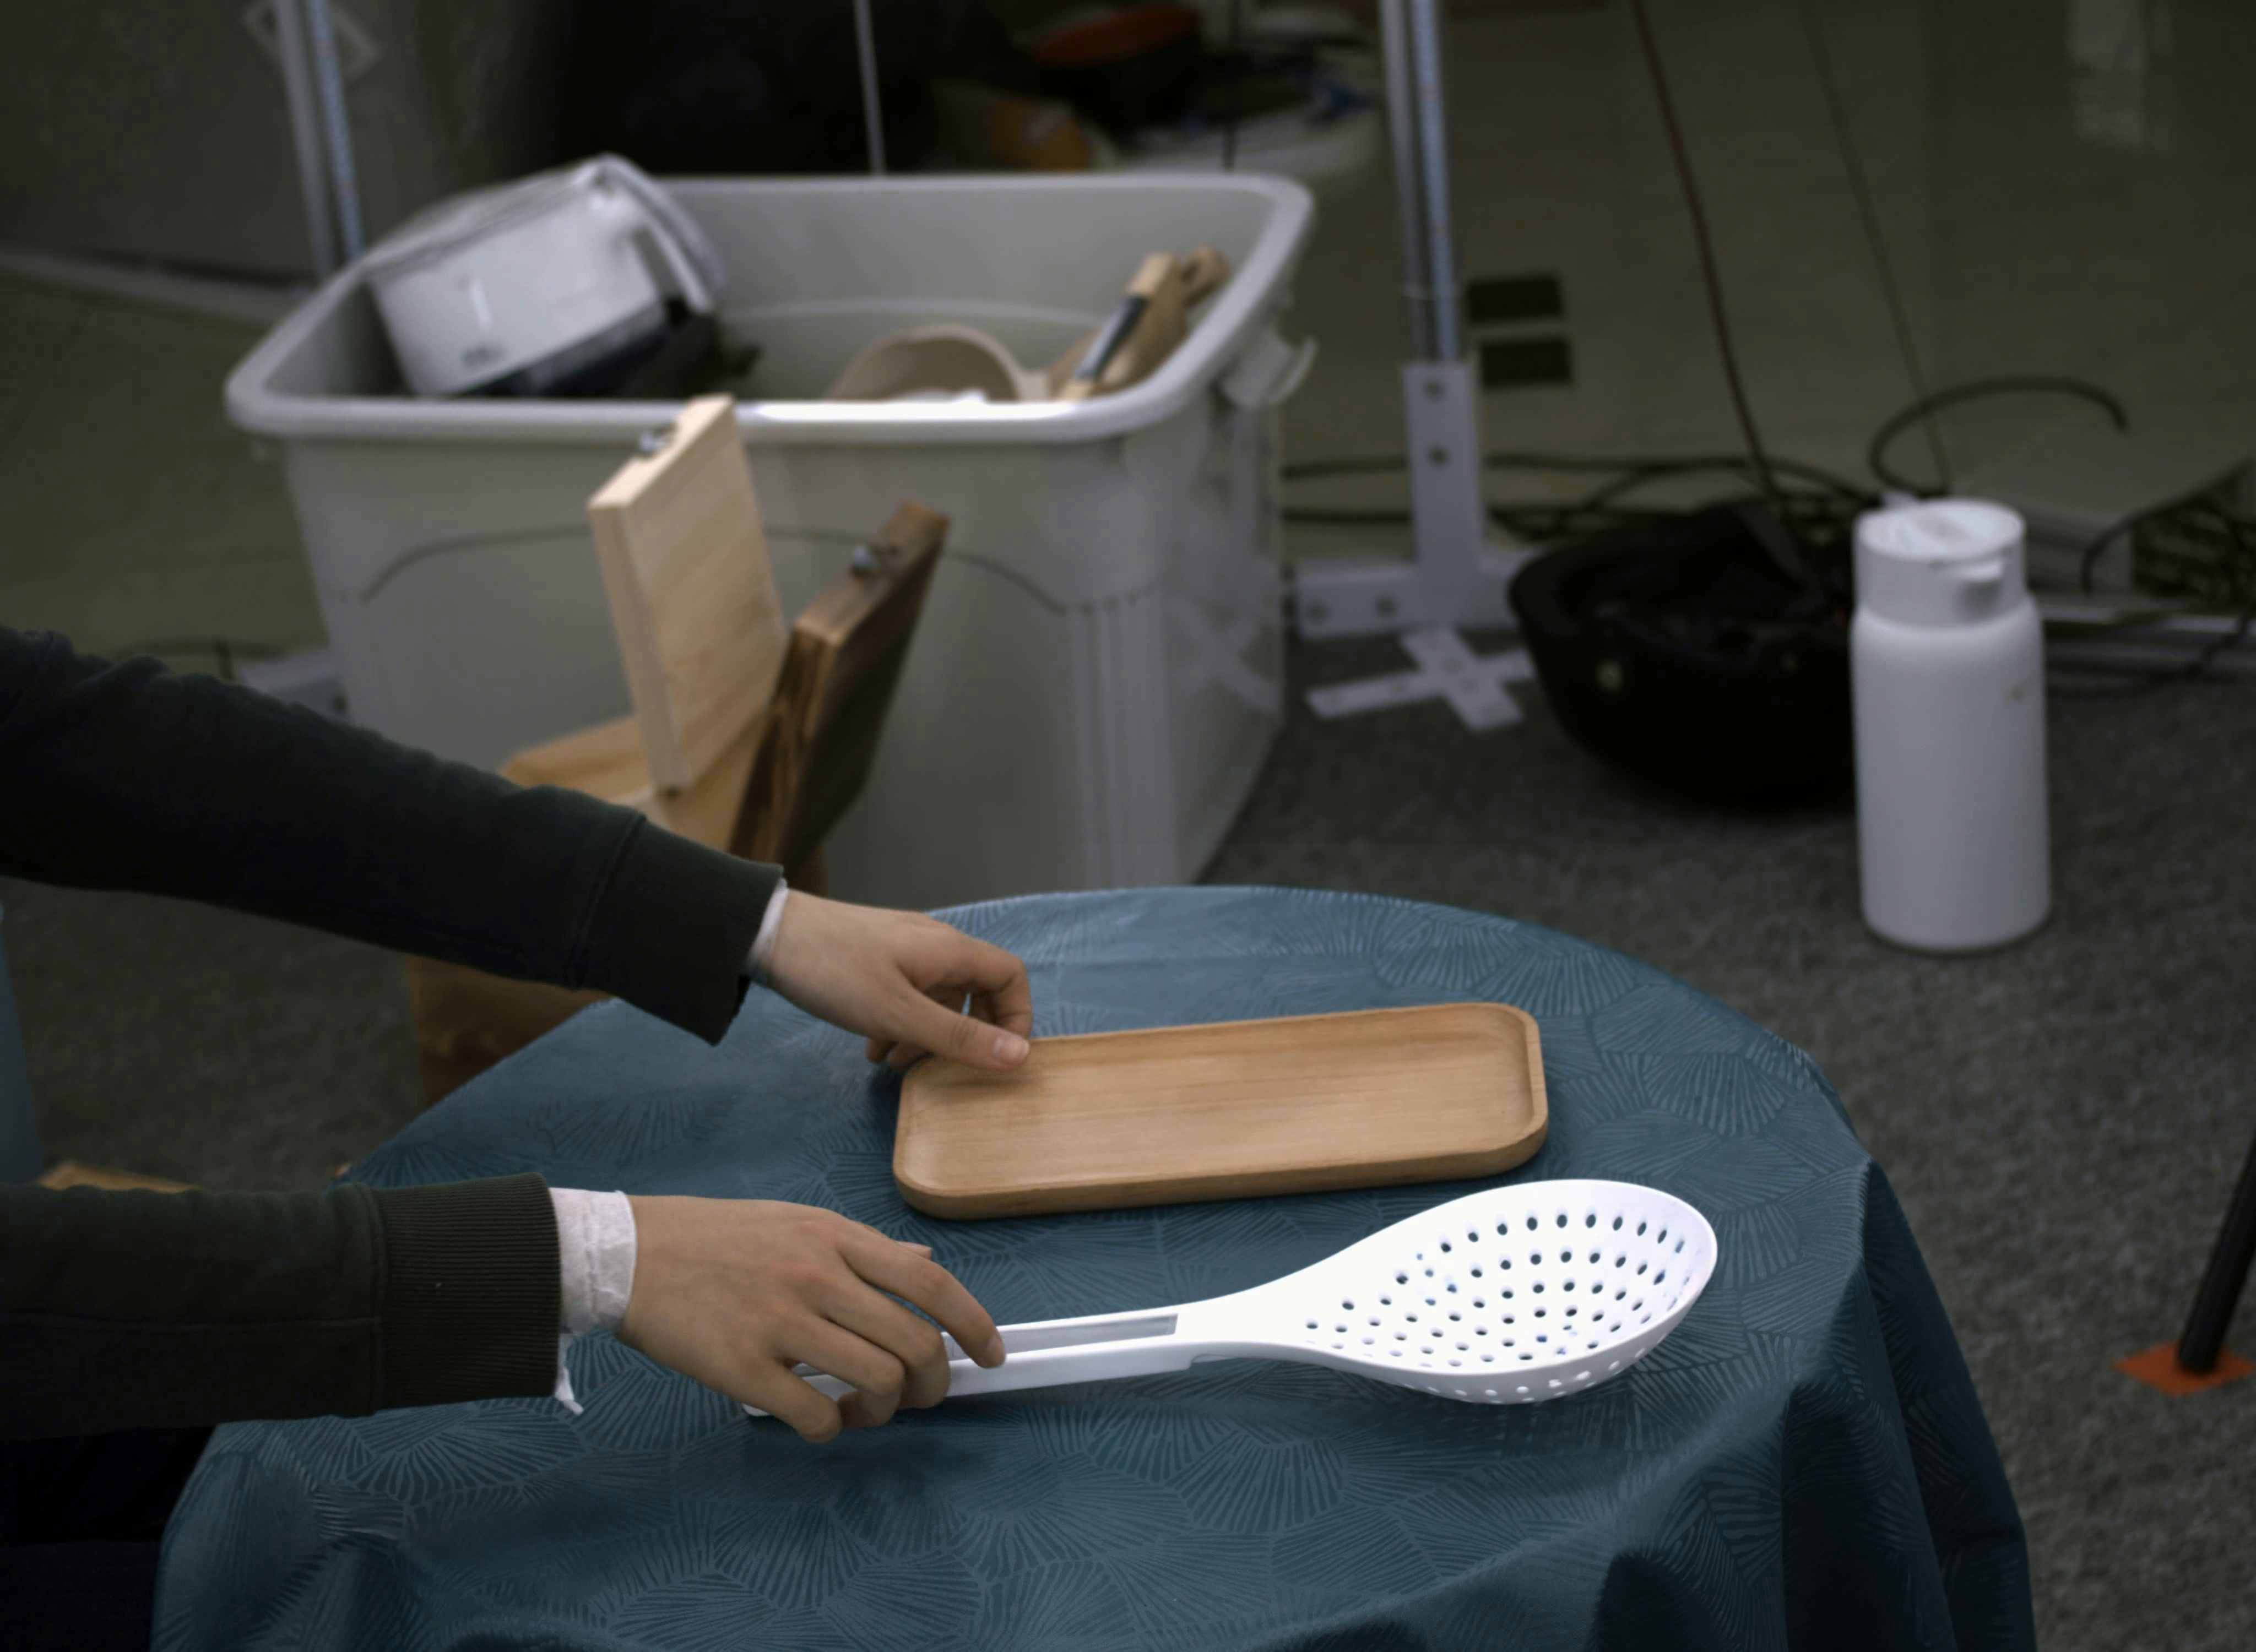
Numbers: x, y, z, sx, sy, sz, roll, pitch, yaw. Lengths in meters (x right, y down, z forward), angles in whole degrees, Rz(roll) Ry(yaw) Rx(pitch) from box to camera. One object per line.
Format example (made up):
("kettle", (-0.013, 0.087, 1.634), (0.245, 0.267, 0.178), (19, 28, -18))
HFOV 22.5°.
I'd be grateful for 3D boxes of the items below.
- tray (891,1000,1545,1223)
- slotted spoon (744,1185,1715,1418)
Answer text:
("tray", (0.035, 0.110, 2.186), (0.250, 0.023, 0.129), (-5, 23, 4))
("slotted spoon", (0.034, 0.178, 2.006), (0.349, 0.046, 0.134), (-4, 23, 8))
